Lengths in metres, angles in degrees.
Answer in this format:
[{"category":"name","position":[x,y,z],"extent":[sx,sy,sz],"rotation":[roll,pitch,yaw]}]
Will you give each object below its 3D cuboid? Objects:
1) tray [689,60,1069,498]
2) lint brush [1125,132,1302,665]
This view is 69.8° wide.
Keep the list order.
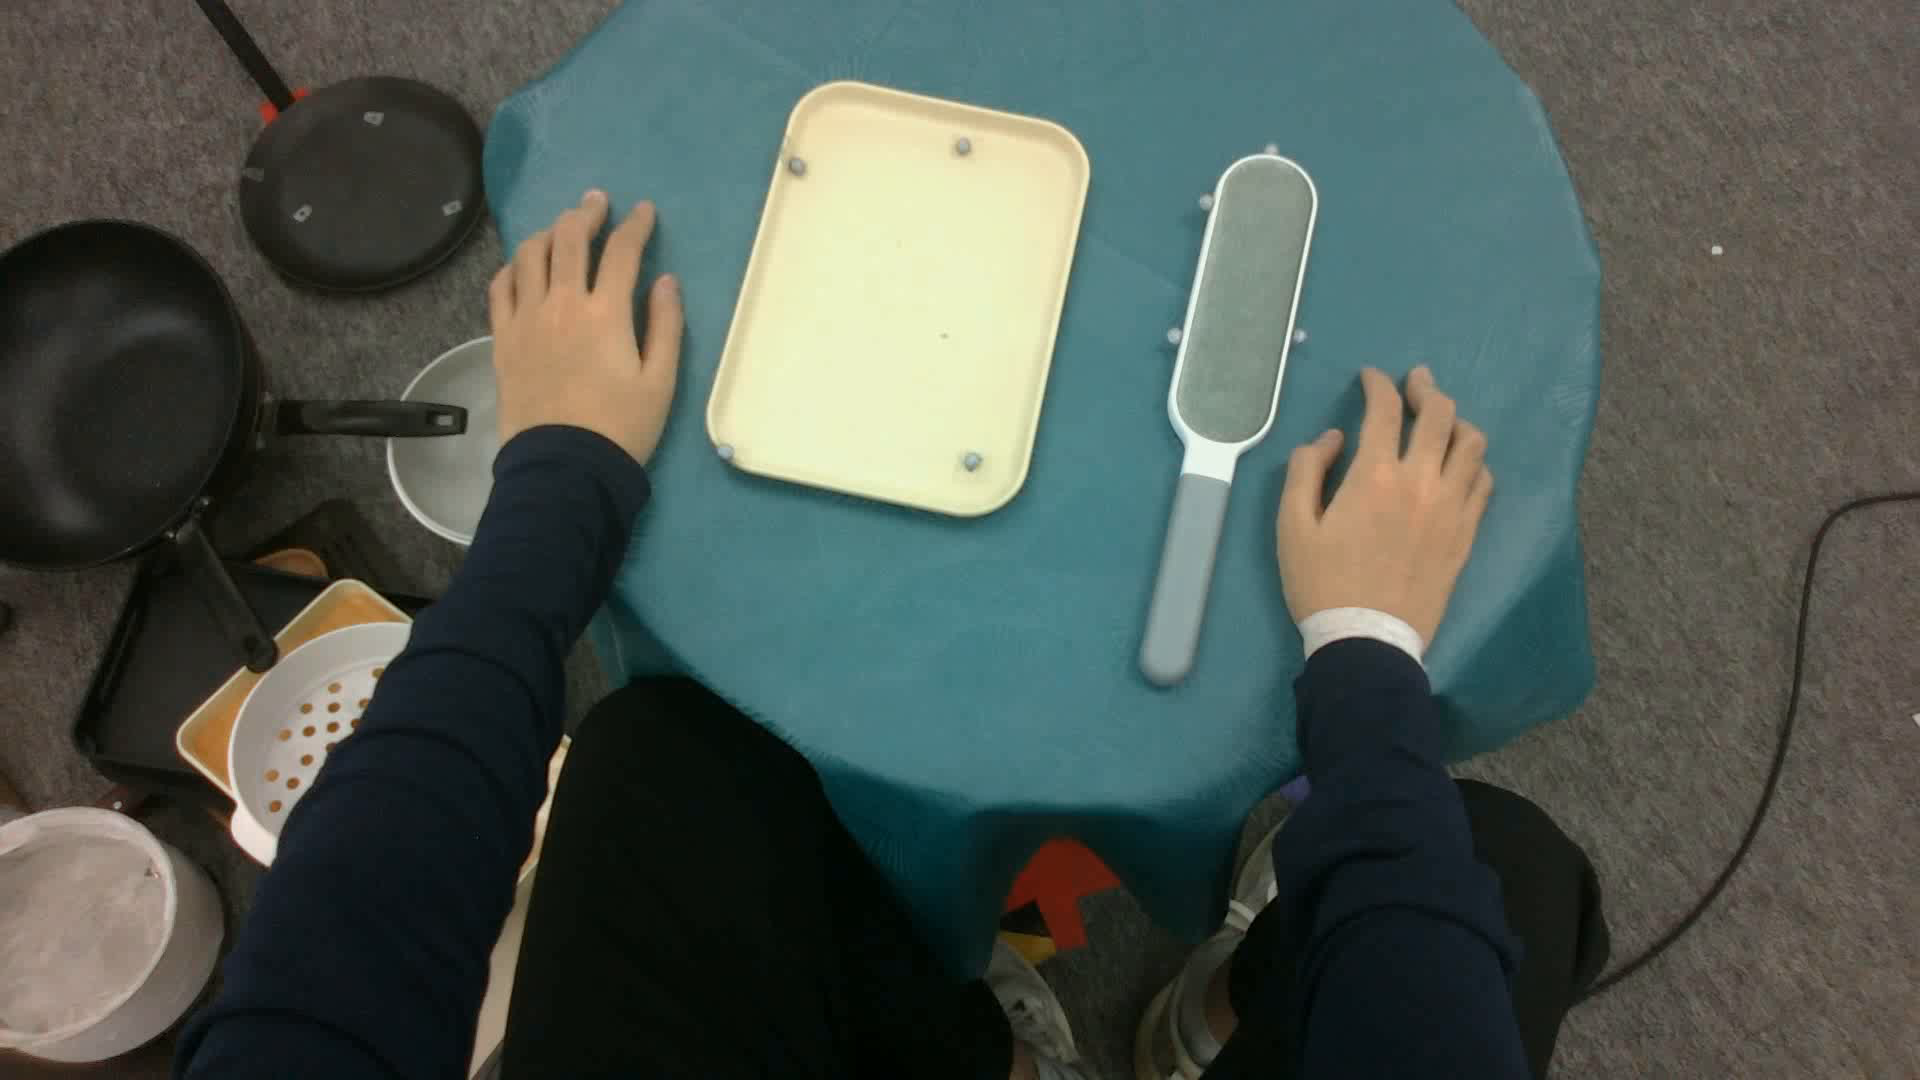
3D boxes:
[{"category":"tray","position":[-0.040,-0.143,0.739],"extent":[0.171,0.017,0.240],"rotation":[12,73,0]},{"category":"lint brush","position":[0.129,-0.082,0.724],"extent":[0.060,0.021,0.310],"rotation":[16,73,-3]}]
